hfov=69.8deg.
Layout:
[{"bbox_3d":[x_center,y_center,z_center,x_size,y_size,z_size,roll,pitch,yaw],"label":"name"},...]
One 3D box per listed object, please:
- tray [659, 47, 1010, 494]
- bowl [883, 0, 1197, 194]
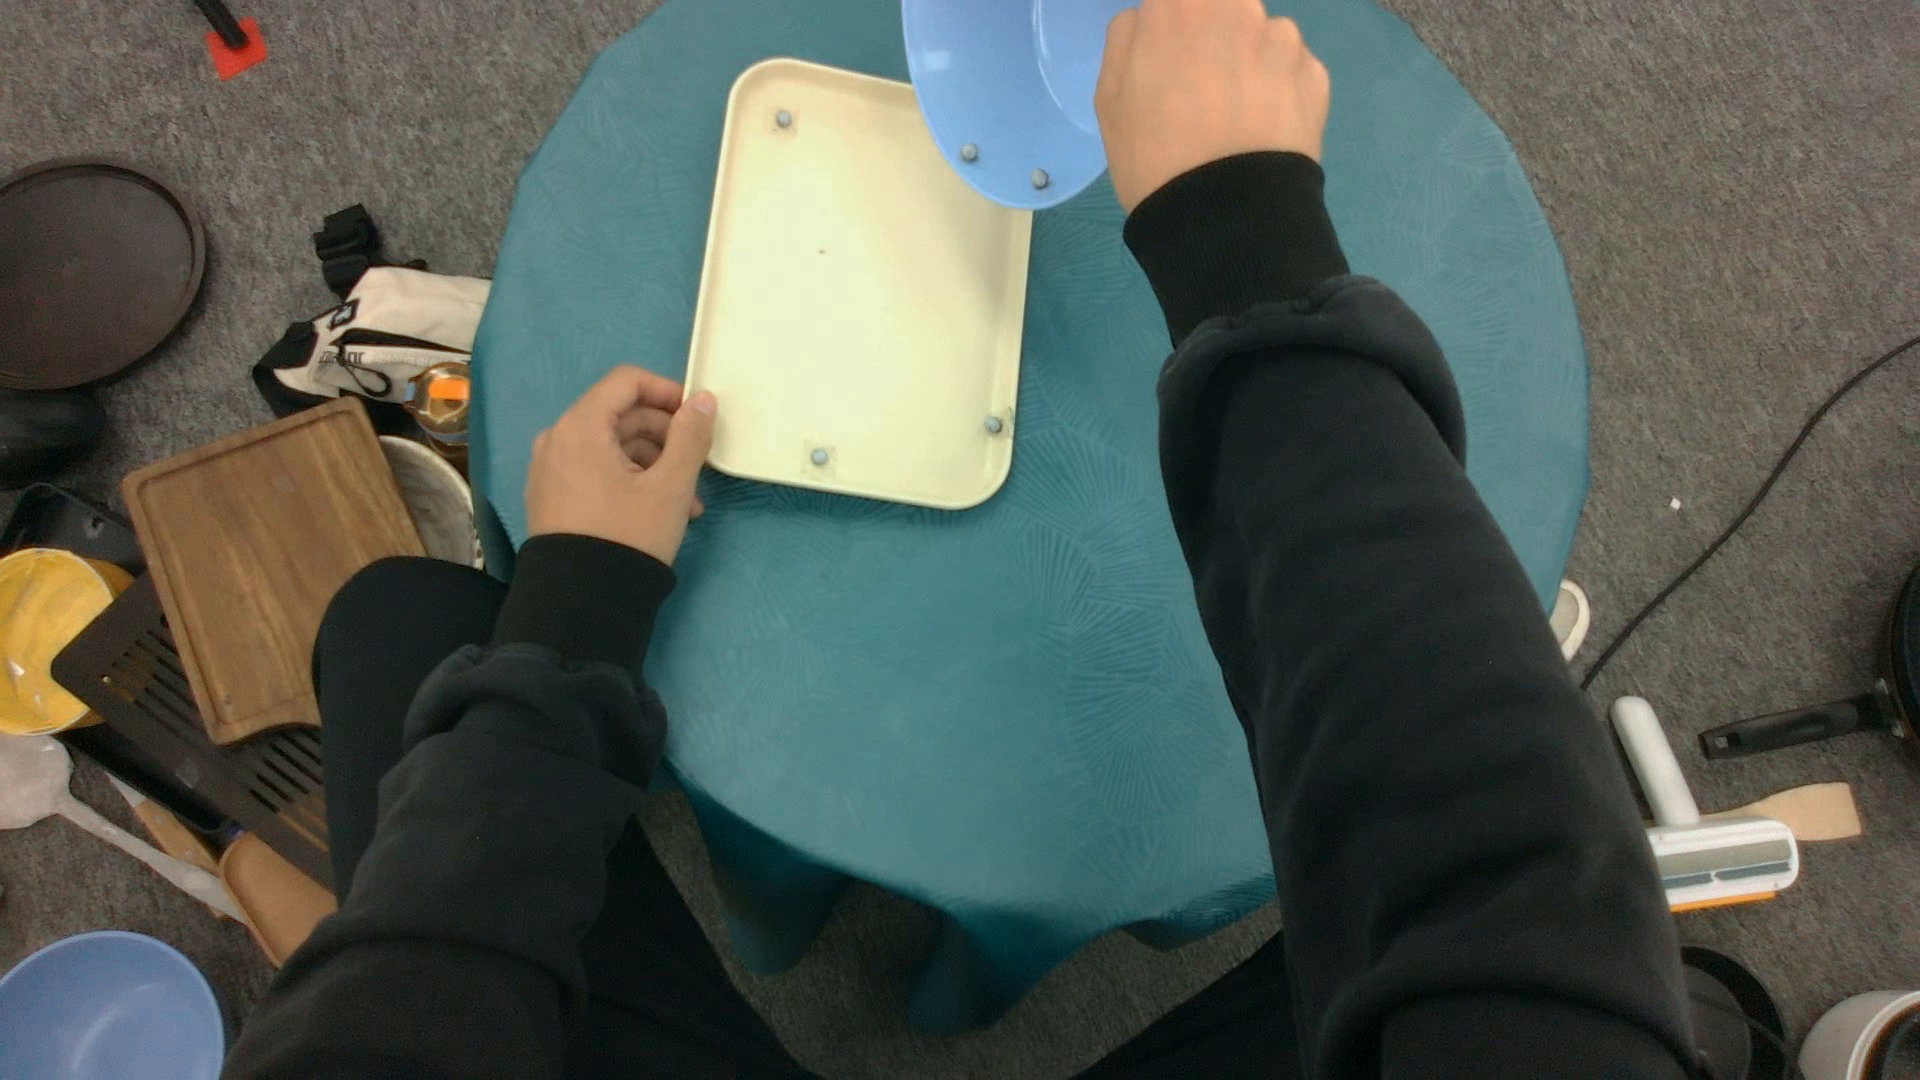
[{"bbox_3d":[-0.061,-0.144,0.728,0.171,0.017,0.240,8,73,-10],"label":"tray"},{"bbox_3d":[0.043,-0.248,0.623,0.070,0.175,0.176,-16,74,-37],"label":"bowl"}]
